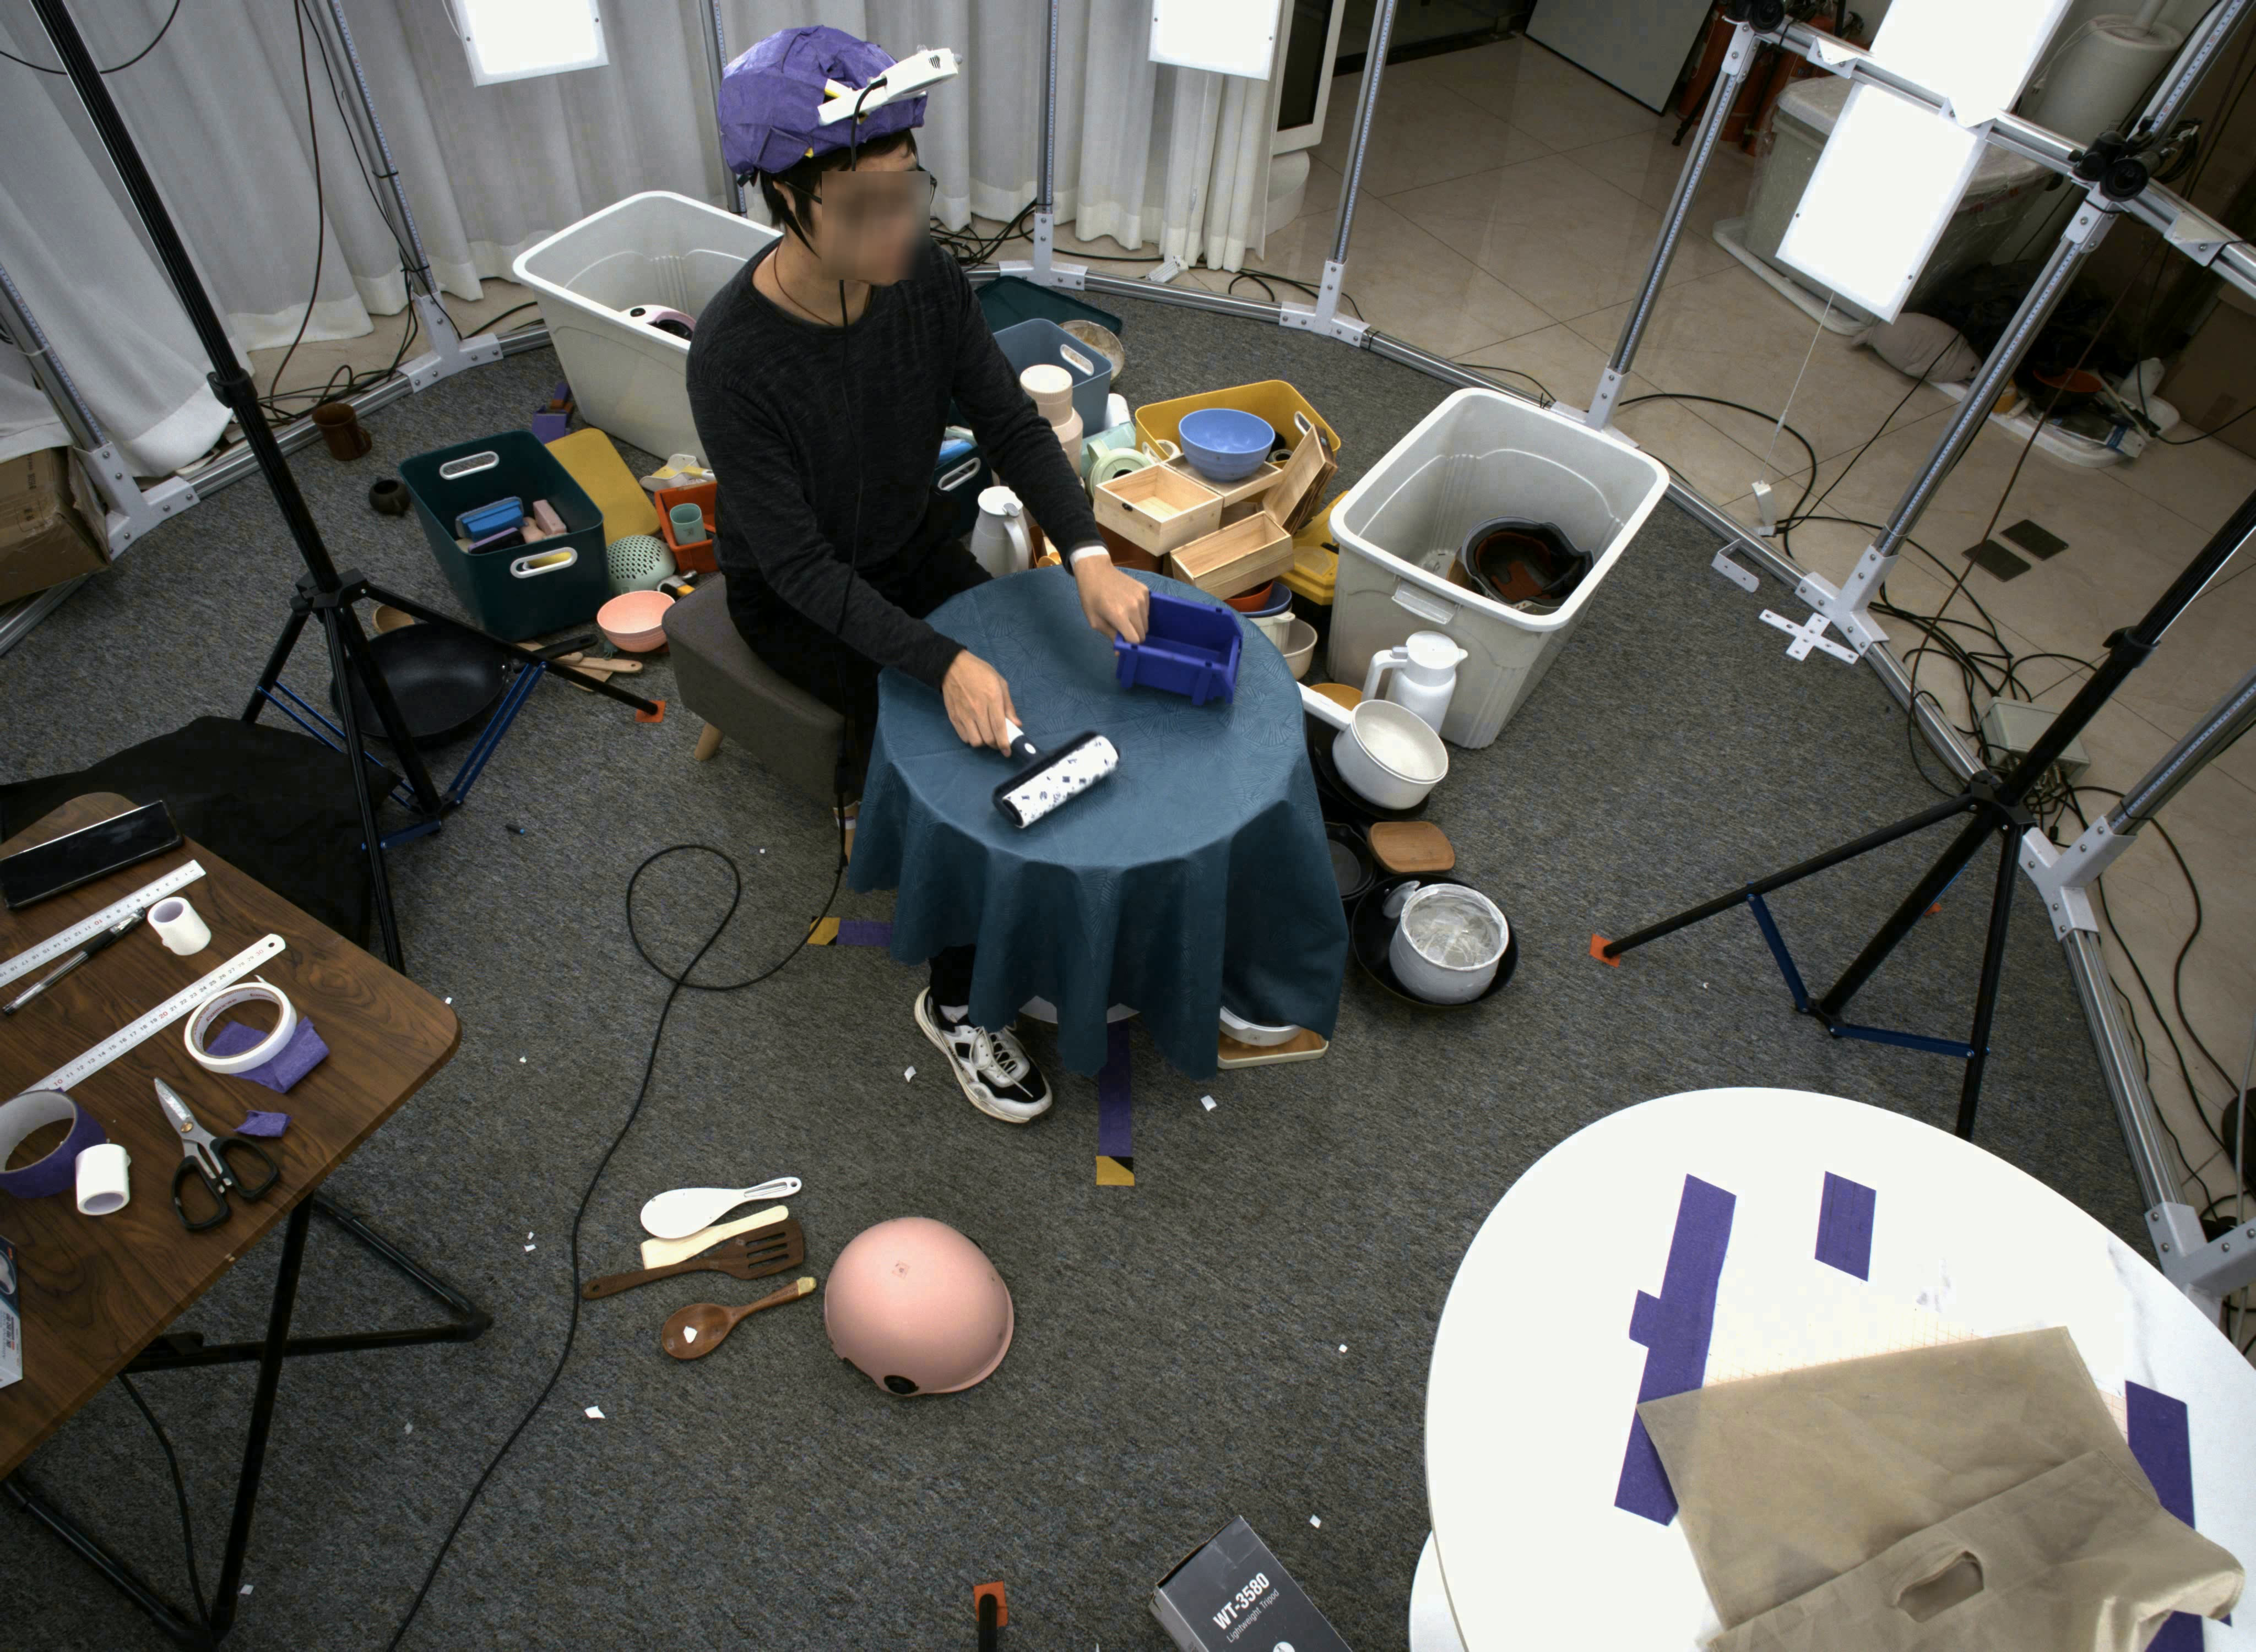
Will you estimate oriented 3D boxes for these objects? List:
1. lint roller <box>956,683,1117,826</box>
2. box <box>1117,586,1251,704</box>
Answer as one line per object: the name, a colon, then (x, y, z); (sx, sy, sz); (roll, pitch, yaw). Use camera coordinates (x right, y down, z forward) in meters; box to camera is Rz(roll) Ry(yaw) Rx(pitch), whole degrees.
lint roller: (-0.156, -0.122, 1.723); (0.177, 0.049, 0.251); (-36, 59, -20)
box: (0.082, -0.254, 1.817); (0.179, 0.080, 0.127); (12, 51, 4)
